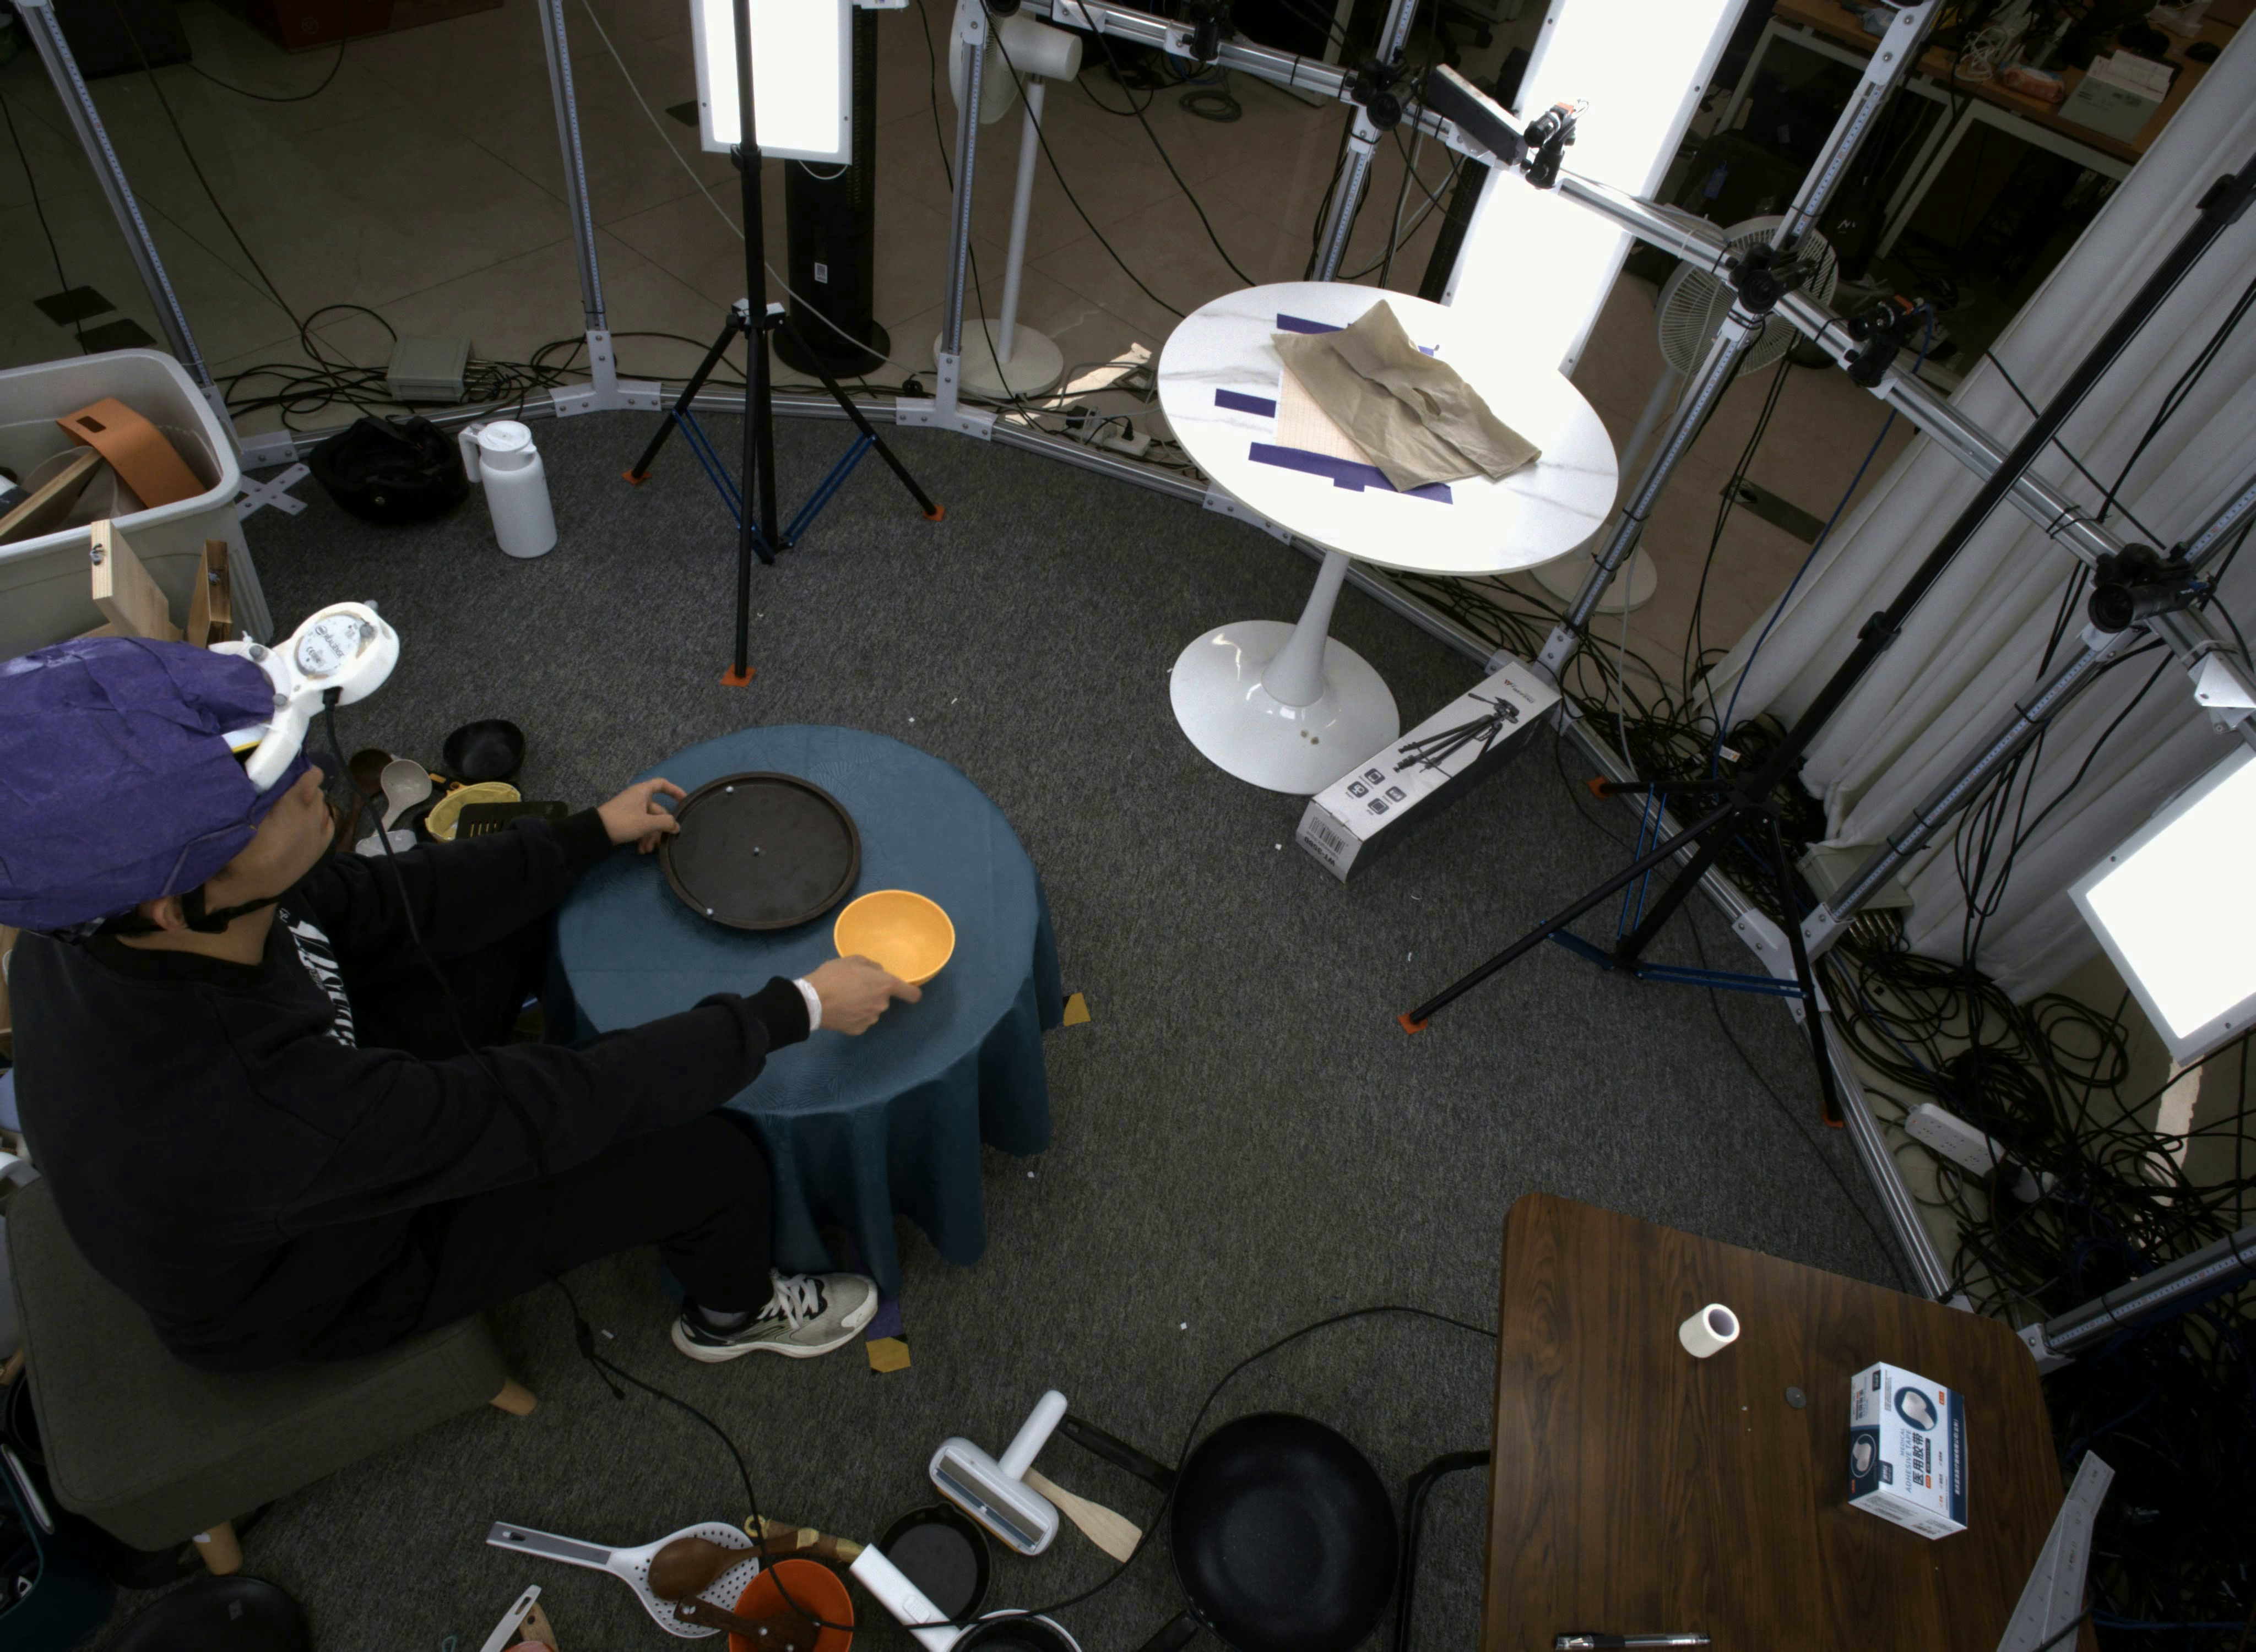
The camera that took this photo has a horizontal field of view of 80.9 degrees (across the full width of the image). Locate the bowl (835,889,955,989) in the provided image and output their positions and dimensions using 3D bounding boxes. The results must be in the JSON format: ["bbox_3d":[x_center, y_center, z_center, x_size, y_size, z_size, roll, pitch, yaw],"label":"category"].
[{"bbox_3d":[-0.284,0.148,1.591,0.144,0.061,0.142,7,46,-6],"label":"bowl"}]

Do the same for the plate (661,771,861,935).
[{"bbox_3d":[-0.472,0.032,1.669,0.255,0.029,0.250,11,53,-13],"label":"plate"}]
